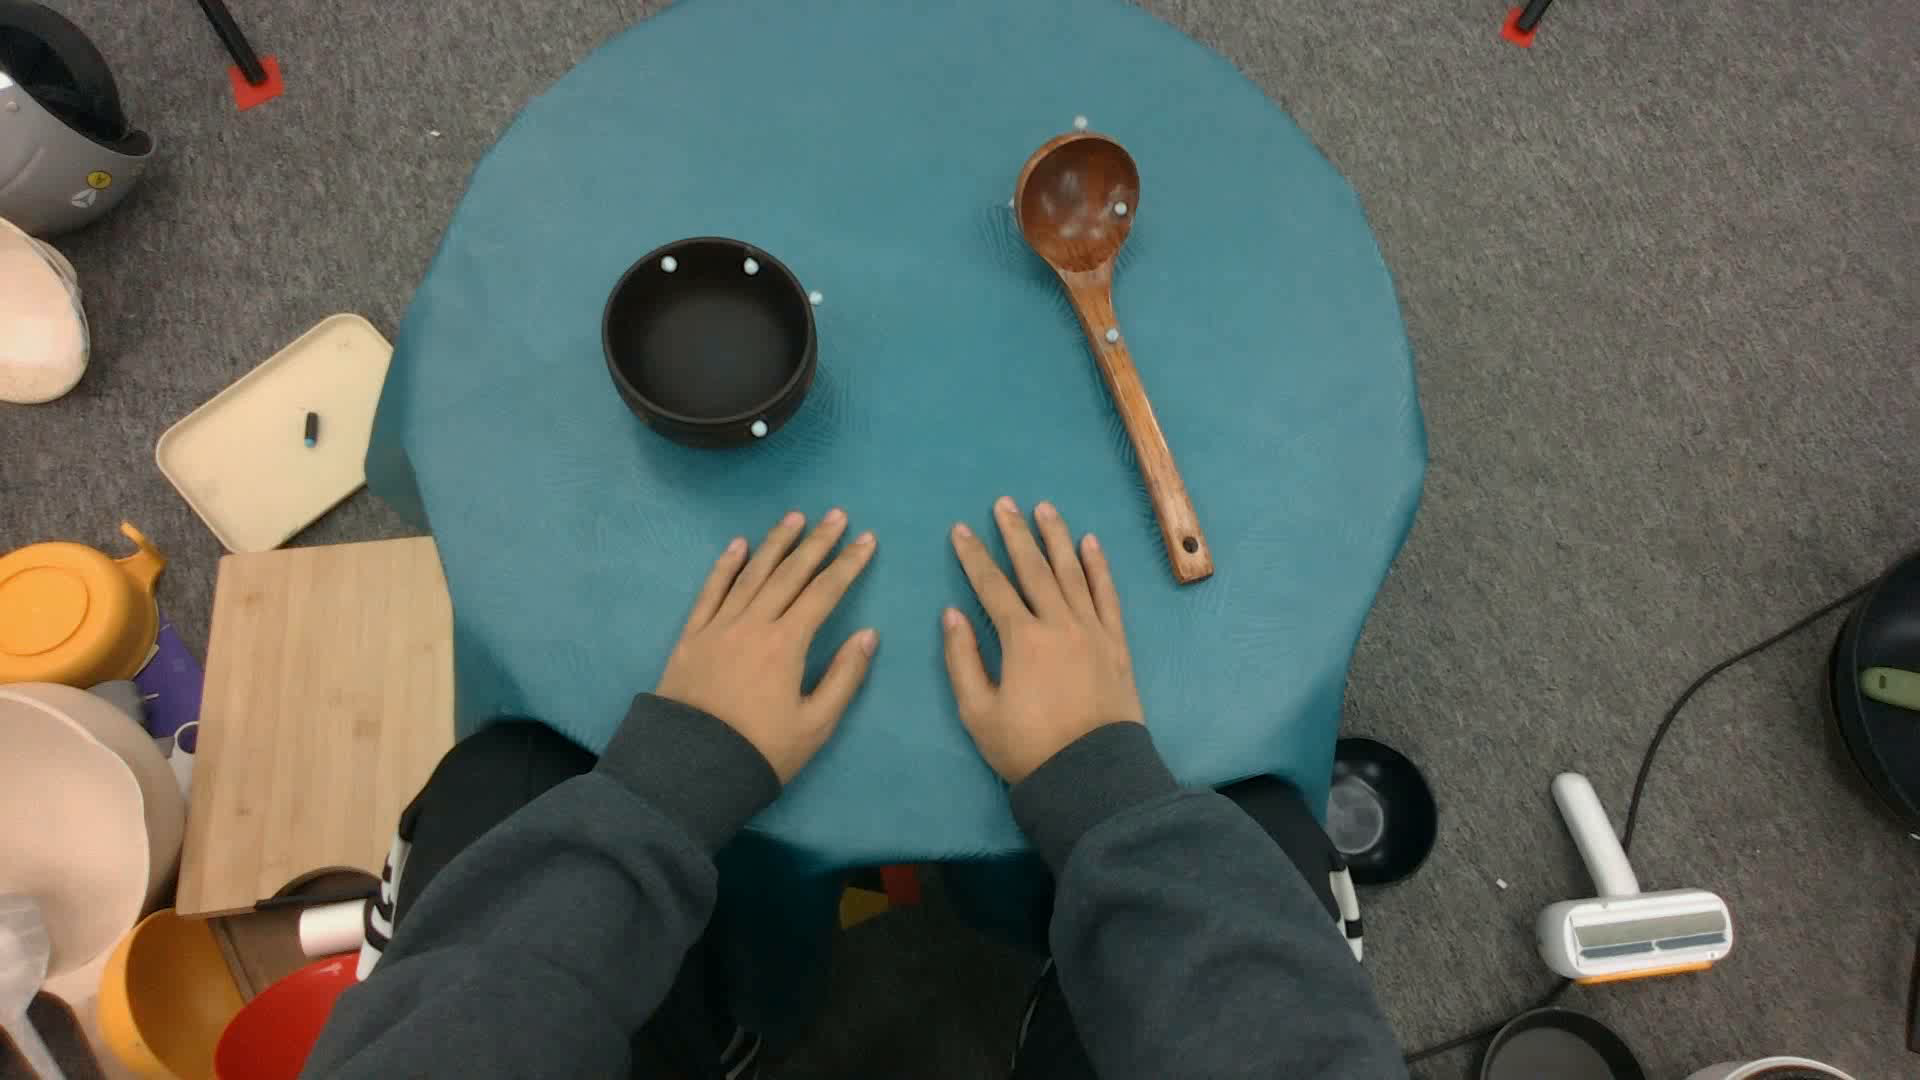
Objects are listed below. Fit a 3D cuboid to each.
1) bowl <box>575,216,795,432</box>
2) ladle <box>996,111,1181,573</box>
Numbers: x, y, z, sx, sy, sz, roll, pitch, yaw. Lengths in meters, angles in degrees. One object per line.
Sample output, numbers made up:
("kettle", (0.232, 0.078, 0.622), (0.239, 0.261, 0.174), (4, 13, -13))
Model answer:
("bowl", (-0.151, -0.113, 0.770), (0.118, 0.069, 0.118), (2, 70, -5))
("ladle", (0.088, -0.120, 0.794), (0.082, 0.076, 0.274), (-12, 71, -15))
